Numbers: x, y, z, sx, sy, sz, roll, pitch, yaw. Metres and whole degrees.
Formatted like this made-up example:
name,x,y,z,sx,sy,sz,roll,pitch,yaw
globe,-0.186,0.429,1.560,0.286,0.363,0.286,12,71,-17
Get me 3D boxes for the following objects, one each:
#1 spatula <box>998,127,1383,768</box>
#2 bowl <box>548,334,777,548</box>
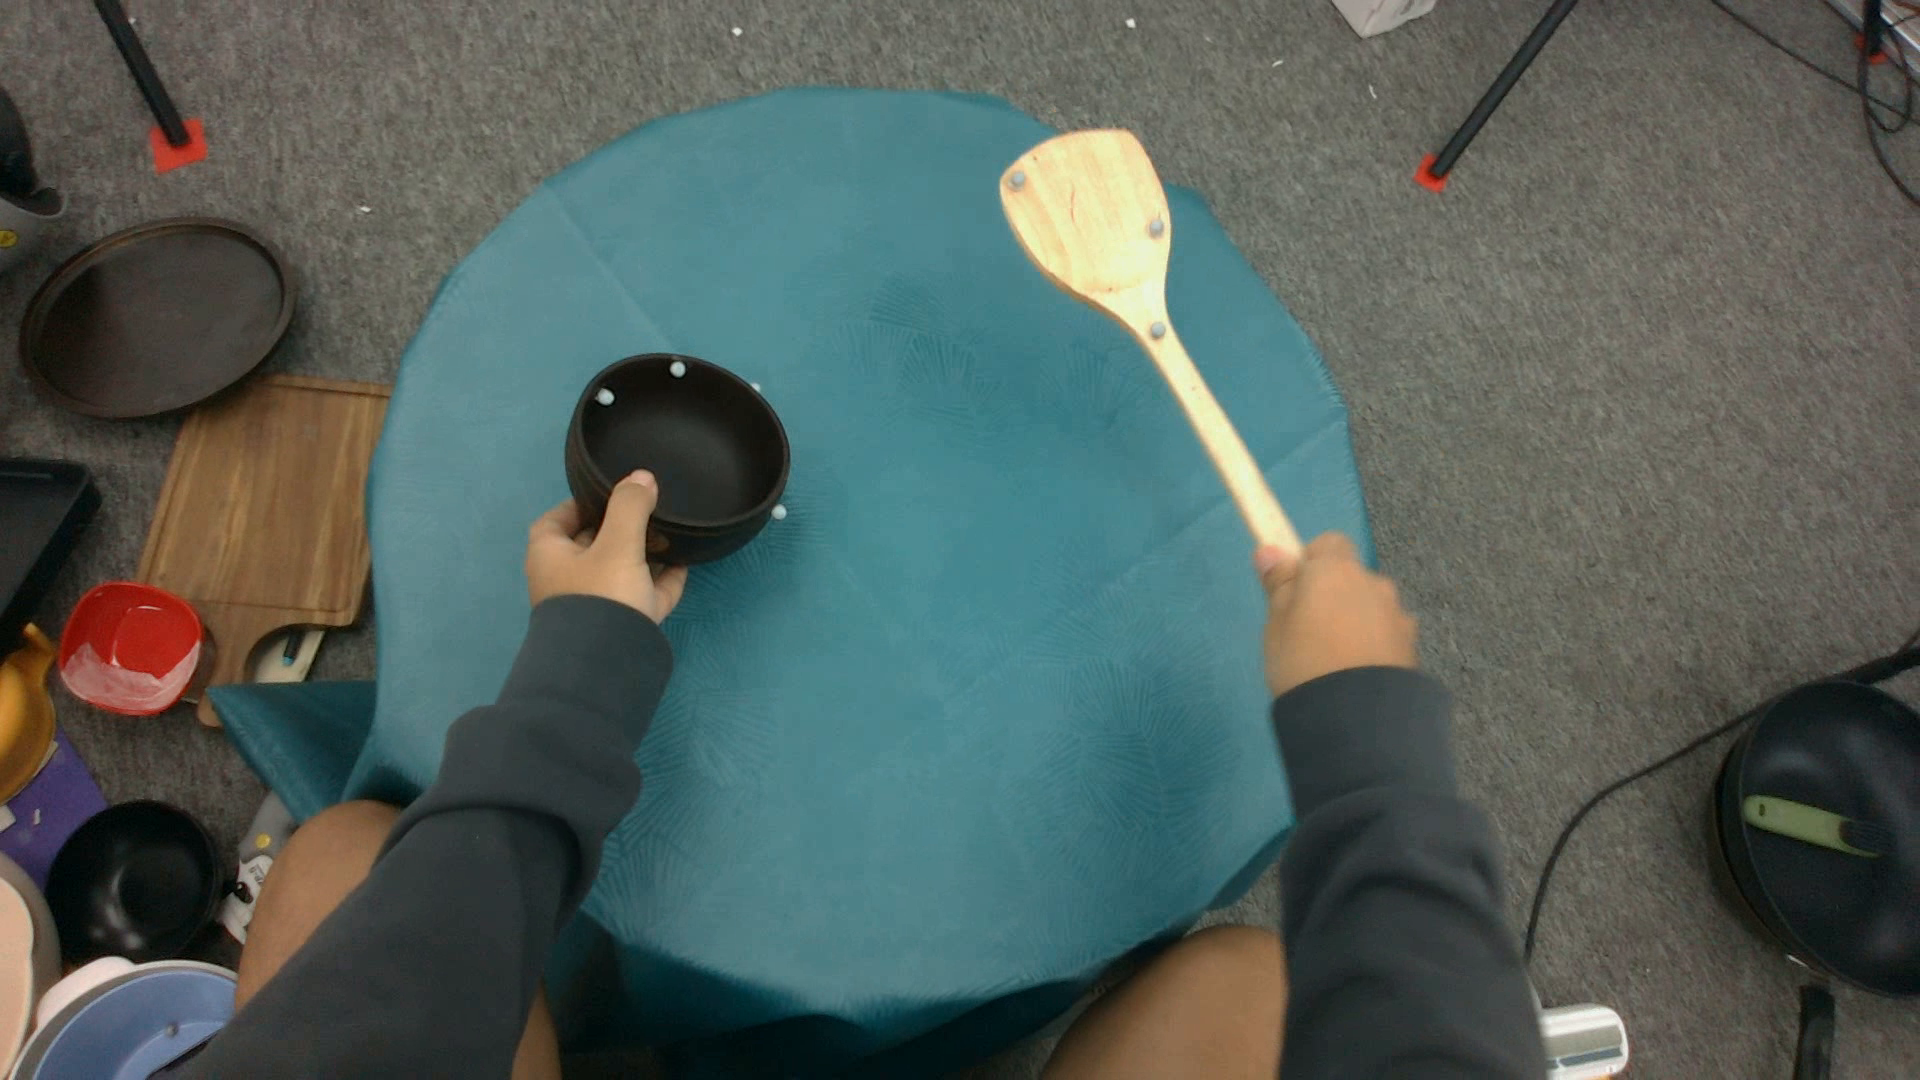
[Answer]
name,x,y,z,sx,sy,sz,roll,pitch,yaw
spatula,0.132,-0.060,0.742,0.096,0.018,0.391,-19,74,-20
bowl,-0.165,-0.046,0.750,0.118,0.069,0.118,13,53,-18
